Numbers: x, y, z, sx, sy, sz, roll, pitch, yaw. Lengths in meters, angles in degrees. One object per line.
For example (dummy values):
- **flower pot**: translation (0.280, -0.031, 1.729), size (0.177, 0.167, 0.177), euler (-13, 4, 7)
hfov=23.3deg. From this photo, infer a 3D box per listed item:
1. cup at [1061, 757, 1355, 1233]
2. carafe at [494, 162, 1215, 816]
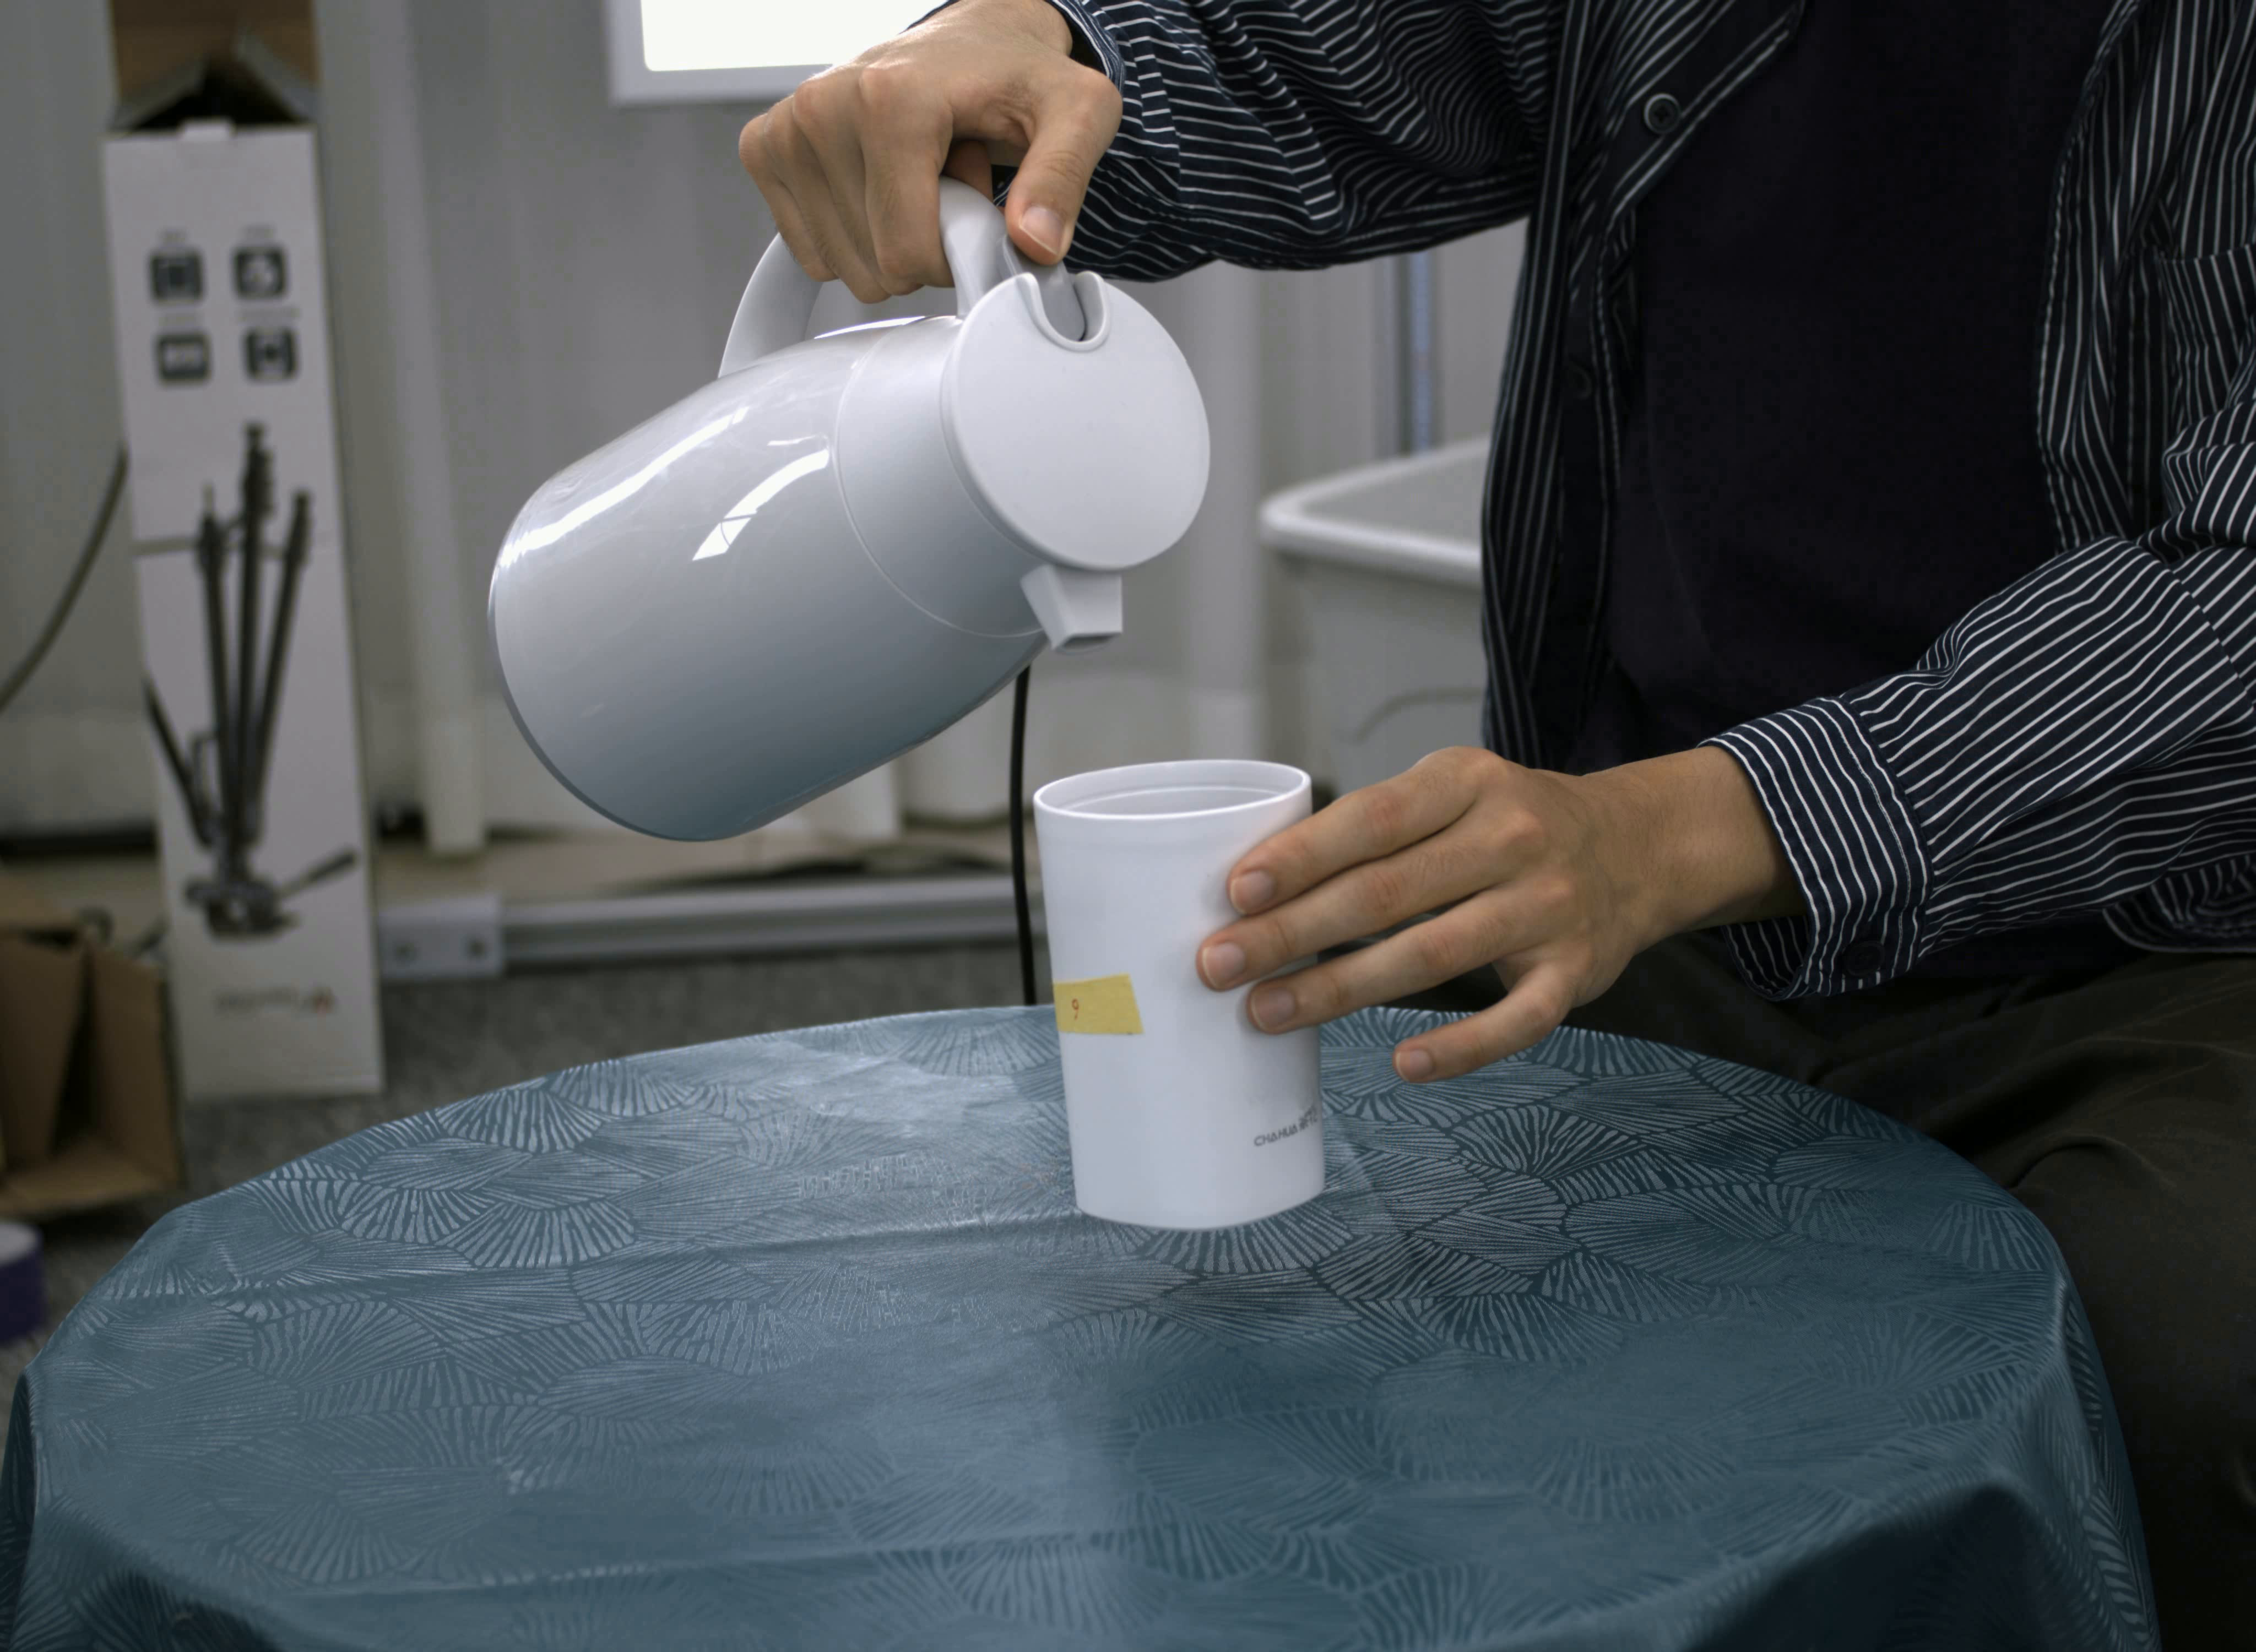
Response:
- **cup**: translation (0.025, 0.049, 1.589), size (0.081, 0.125, 0.082), euler (-4, 10, 0)
- **carafe**: translation (-0.083, -0.110, 1.672), size (0.132, 0.168, 0.248), euler (-11, -6, -36)
